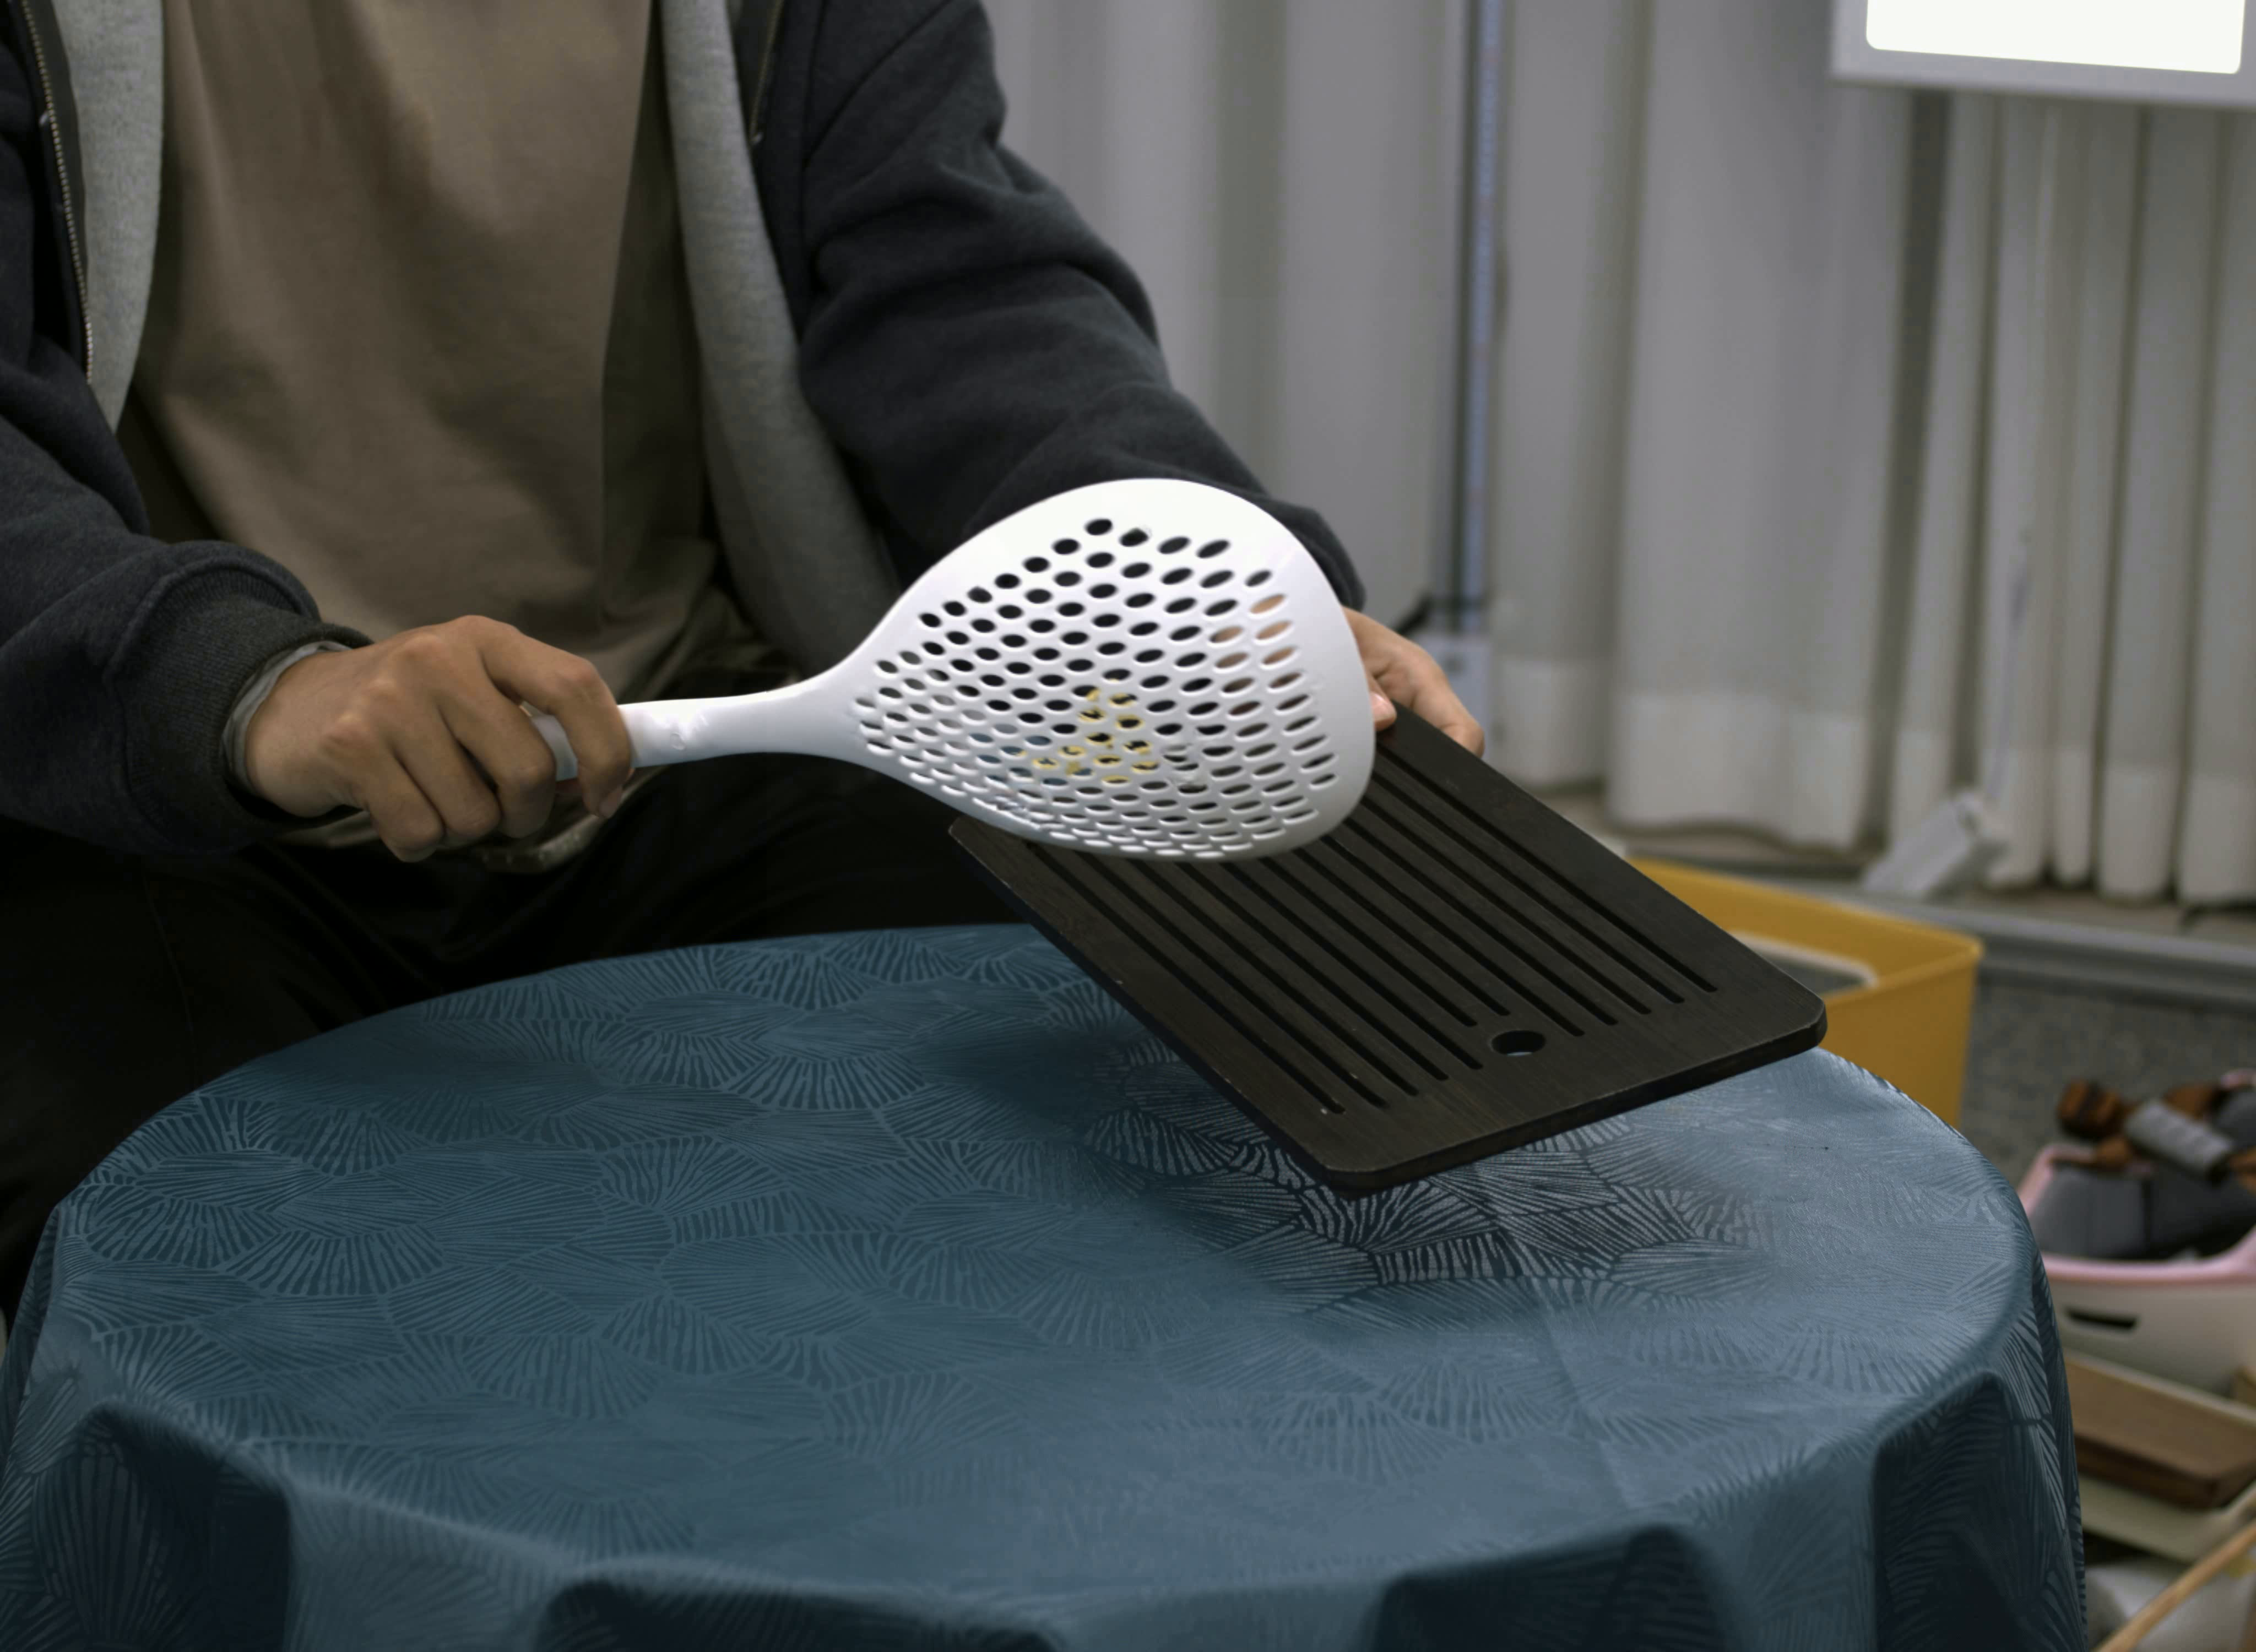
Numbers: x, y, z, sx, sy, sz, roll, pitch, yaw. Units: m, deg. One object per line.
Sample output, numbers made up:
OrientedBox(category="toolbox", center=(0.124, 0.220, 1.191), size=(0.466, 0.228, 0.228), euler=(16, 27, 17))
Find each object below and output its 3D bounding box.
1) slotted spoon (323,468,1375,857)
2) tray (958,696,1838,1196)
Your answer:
OrientedBox(category="slotted spoon", center=(-0.093, -0.033, 1.637), size=(0.344, 0.138, 0.050), euler=(-3, 33, 25))
OrientedBox(category="tray", center=(0.078, 0.034, 1.671), size=(0.170, 0.019, 0.302), euler=(-16, 27, -20))
